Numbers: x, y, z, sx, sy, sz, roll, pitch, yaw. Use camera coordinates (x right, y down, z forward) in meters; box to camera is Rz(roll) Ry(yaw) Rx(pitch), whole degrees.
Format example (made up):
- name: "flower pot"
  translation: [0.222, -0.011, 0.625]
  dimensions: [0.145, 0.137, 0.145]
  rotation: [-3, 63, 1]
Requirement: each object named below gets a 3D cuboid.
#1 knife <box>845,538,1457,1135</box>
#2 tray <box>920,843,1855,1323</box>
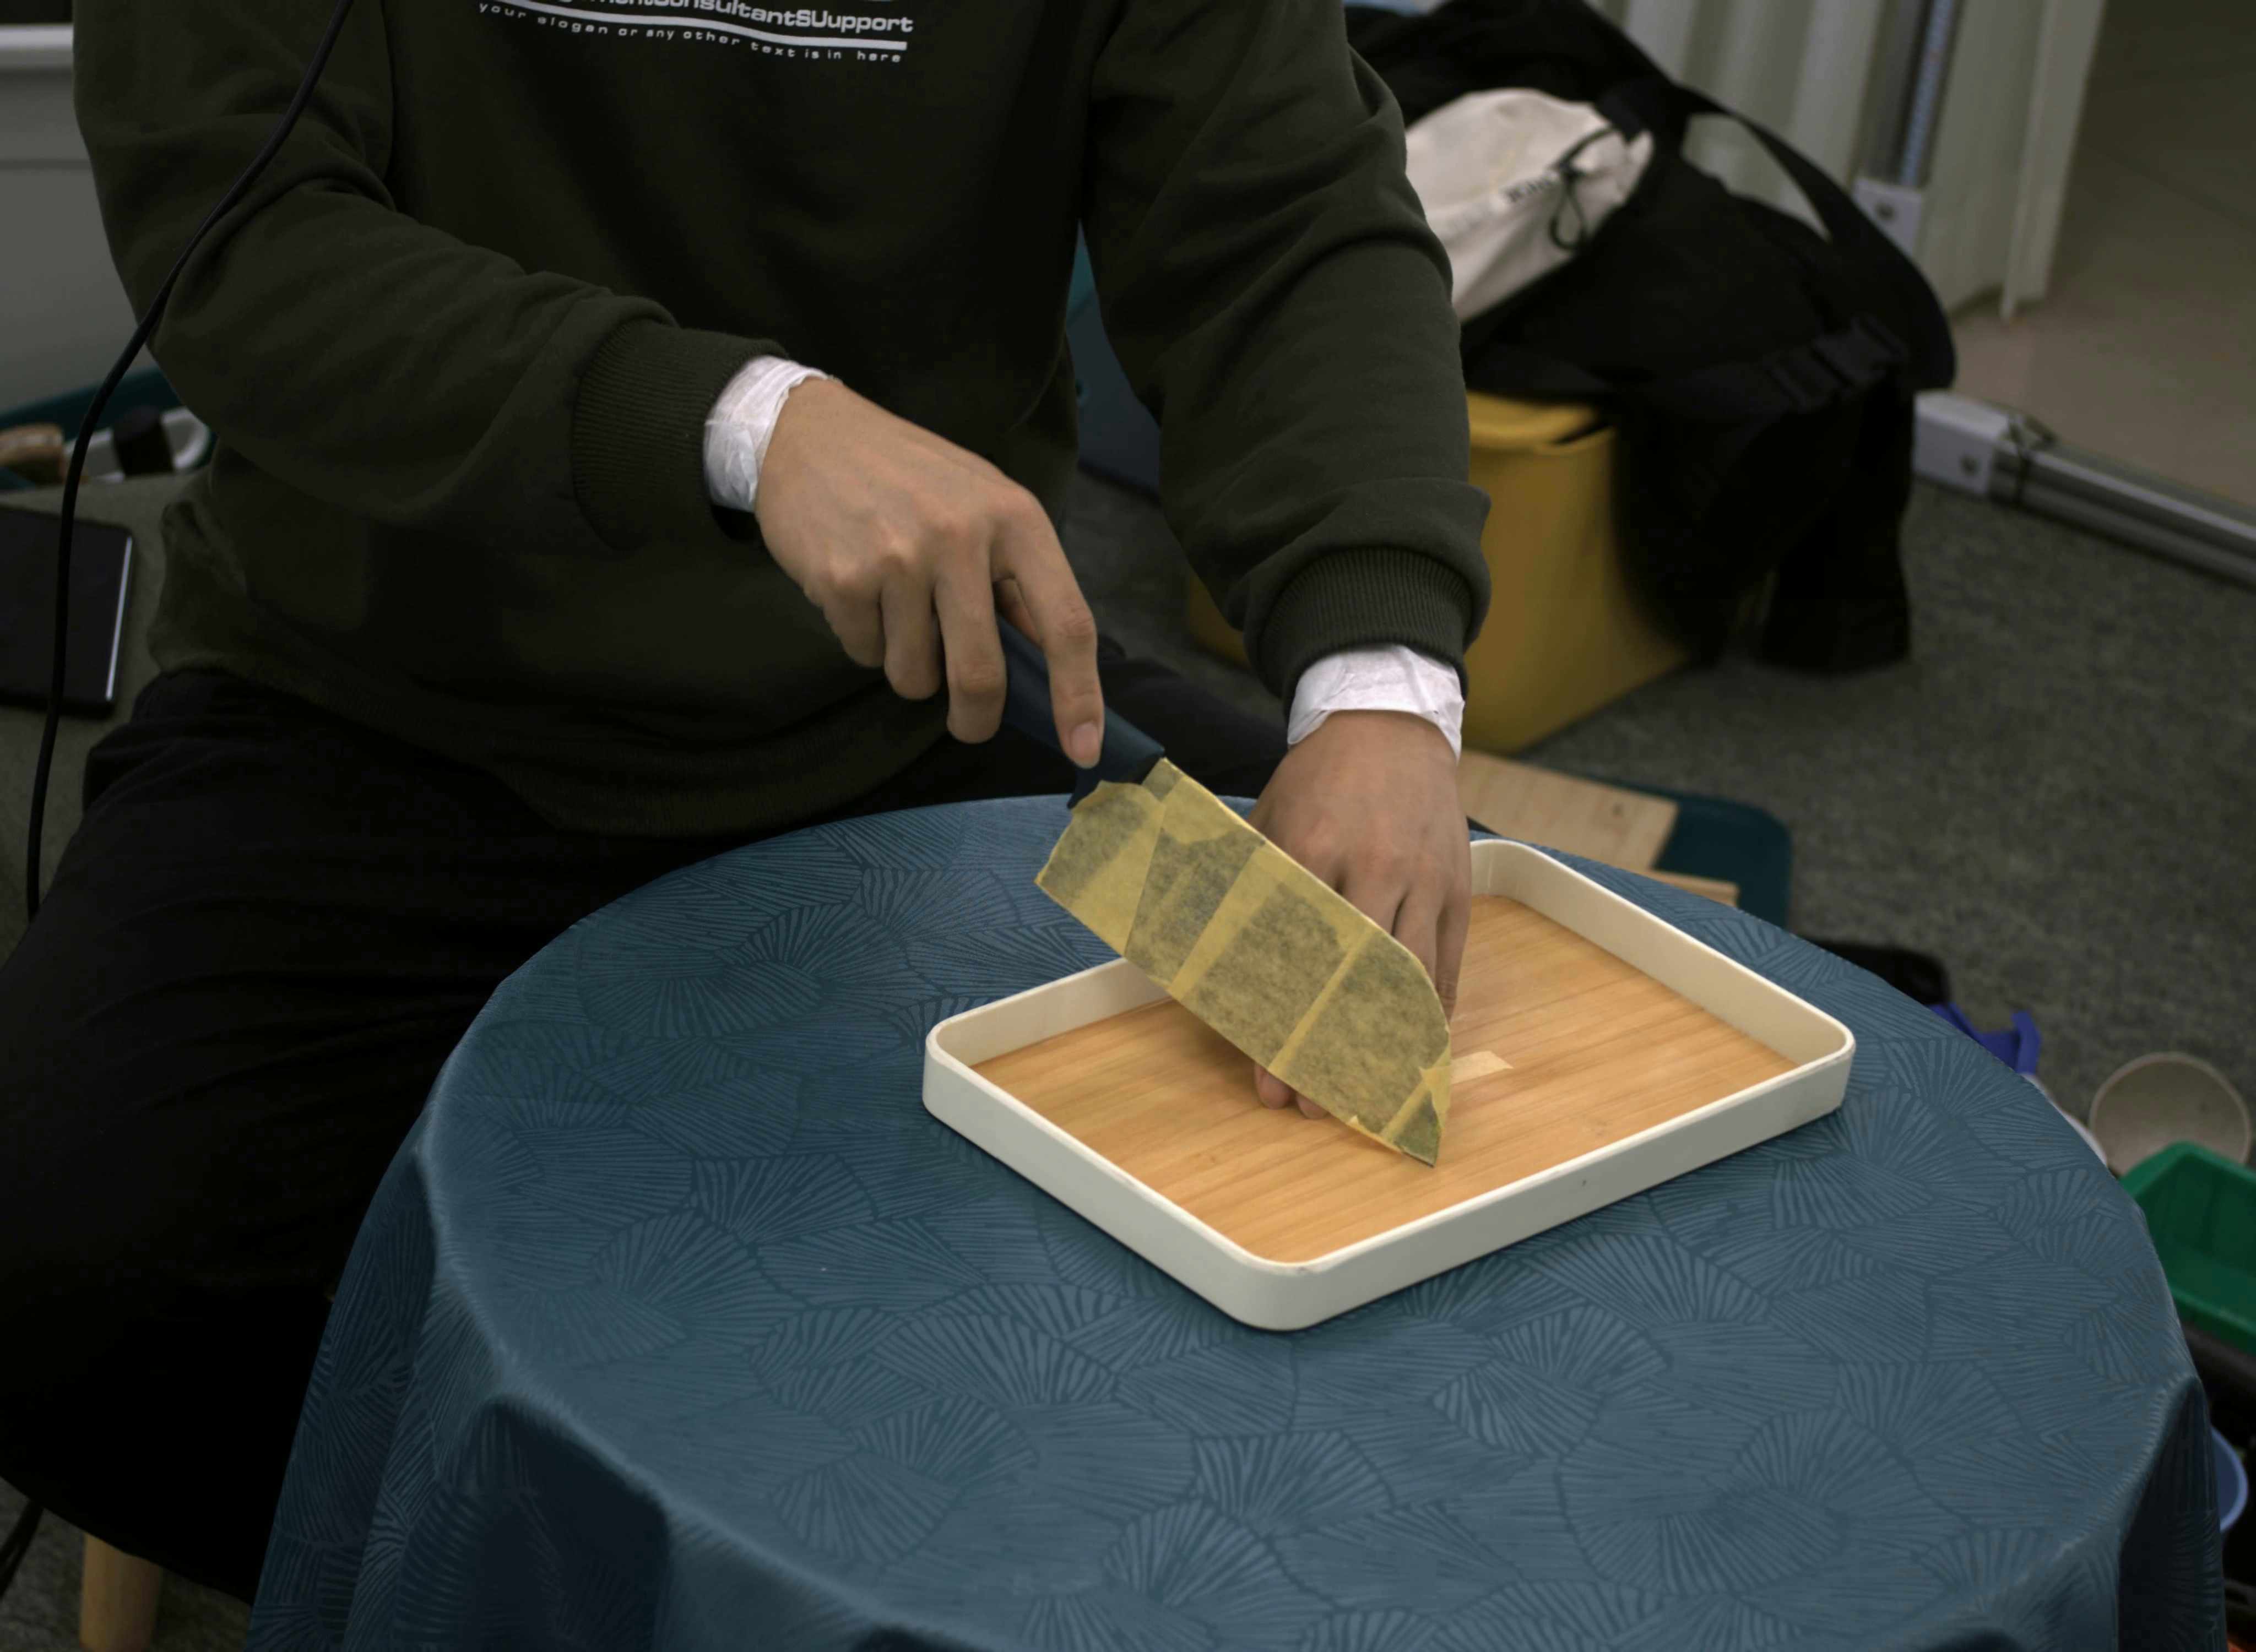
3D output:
- name: "knife"
  translation: [0.004, 0.005, 1.845]
  dimensions: [0.290, 0.081, 0.027]
  rotation: [42, 28, 11]
- name: "tray"
  translation: [0.093, 0.085, 1.874]
  dimensions: [0.298, 0.027, 0.193]
  rotation: [-17, 34, -39]
